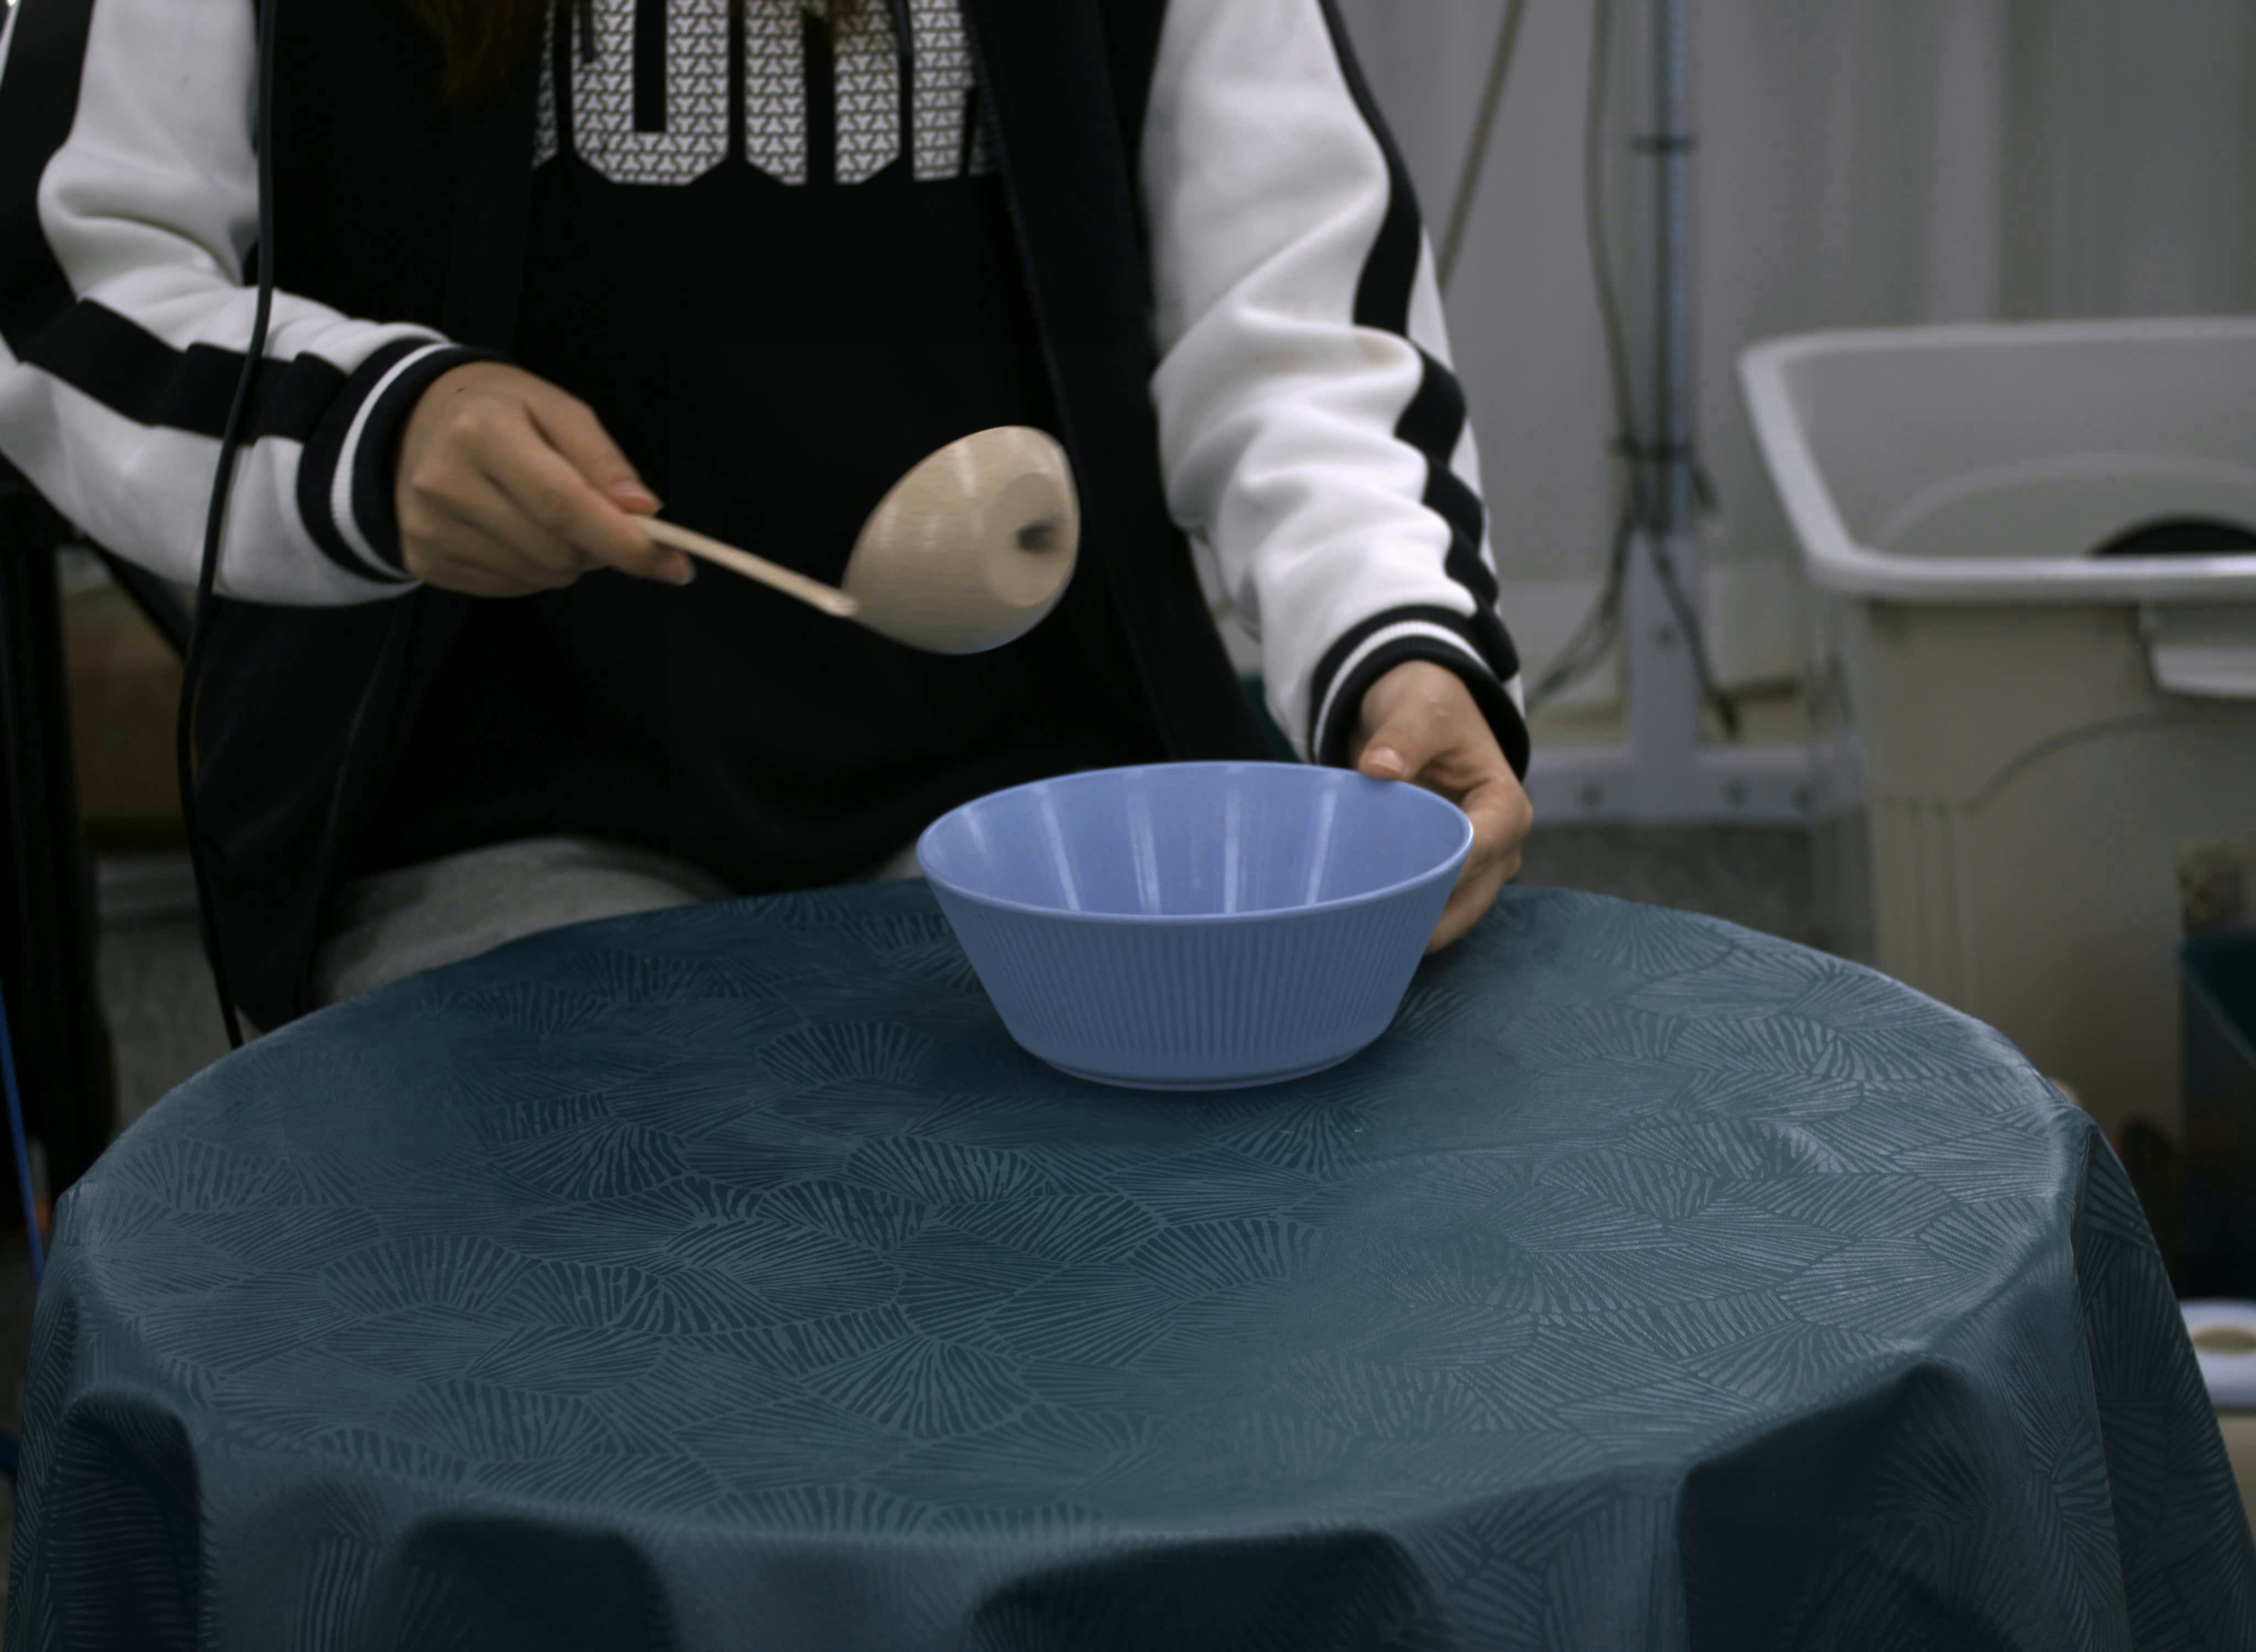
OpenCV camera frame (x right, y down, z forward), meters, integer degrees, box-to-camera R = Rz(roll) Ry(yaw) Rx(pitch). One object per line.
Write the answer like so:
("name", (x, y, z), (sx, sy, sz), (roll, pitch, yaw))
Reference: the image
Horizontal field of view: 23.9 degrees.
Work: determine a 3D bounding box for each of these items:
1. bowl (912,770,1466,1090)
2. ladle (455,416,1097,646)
("bowl", (0.019, 0.035, 1.685), (0.175, 0.070, 0.177), (-2, 16, -1))
("ladle", (-0.115, -0.111, 1.656), (0.260, 0.073, 0.070), (17, 5, 41))
